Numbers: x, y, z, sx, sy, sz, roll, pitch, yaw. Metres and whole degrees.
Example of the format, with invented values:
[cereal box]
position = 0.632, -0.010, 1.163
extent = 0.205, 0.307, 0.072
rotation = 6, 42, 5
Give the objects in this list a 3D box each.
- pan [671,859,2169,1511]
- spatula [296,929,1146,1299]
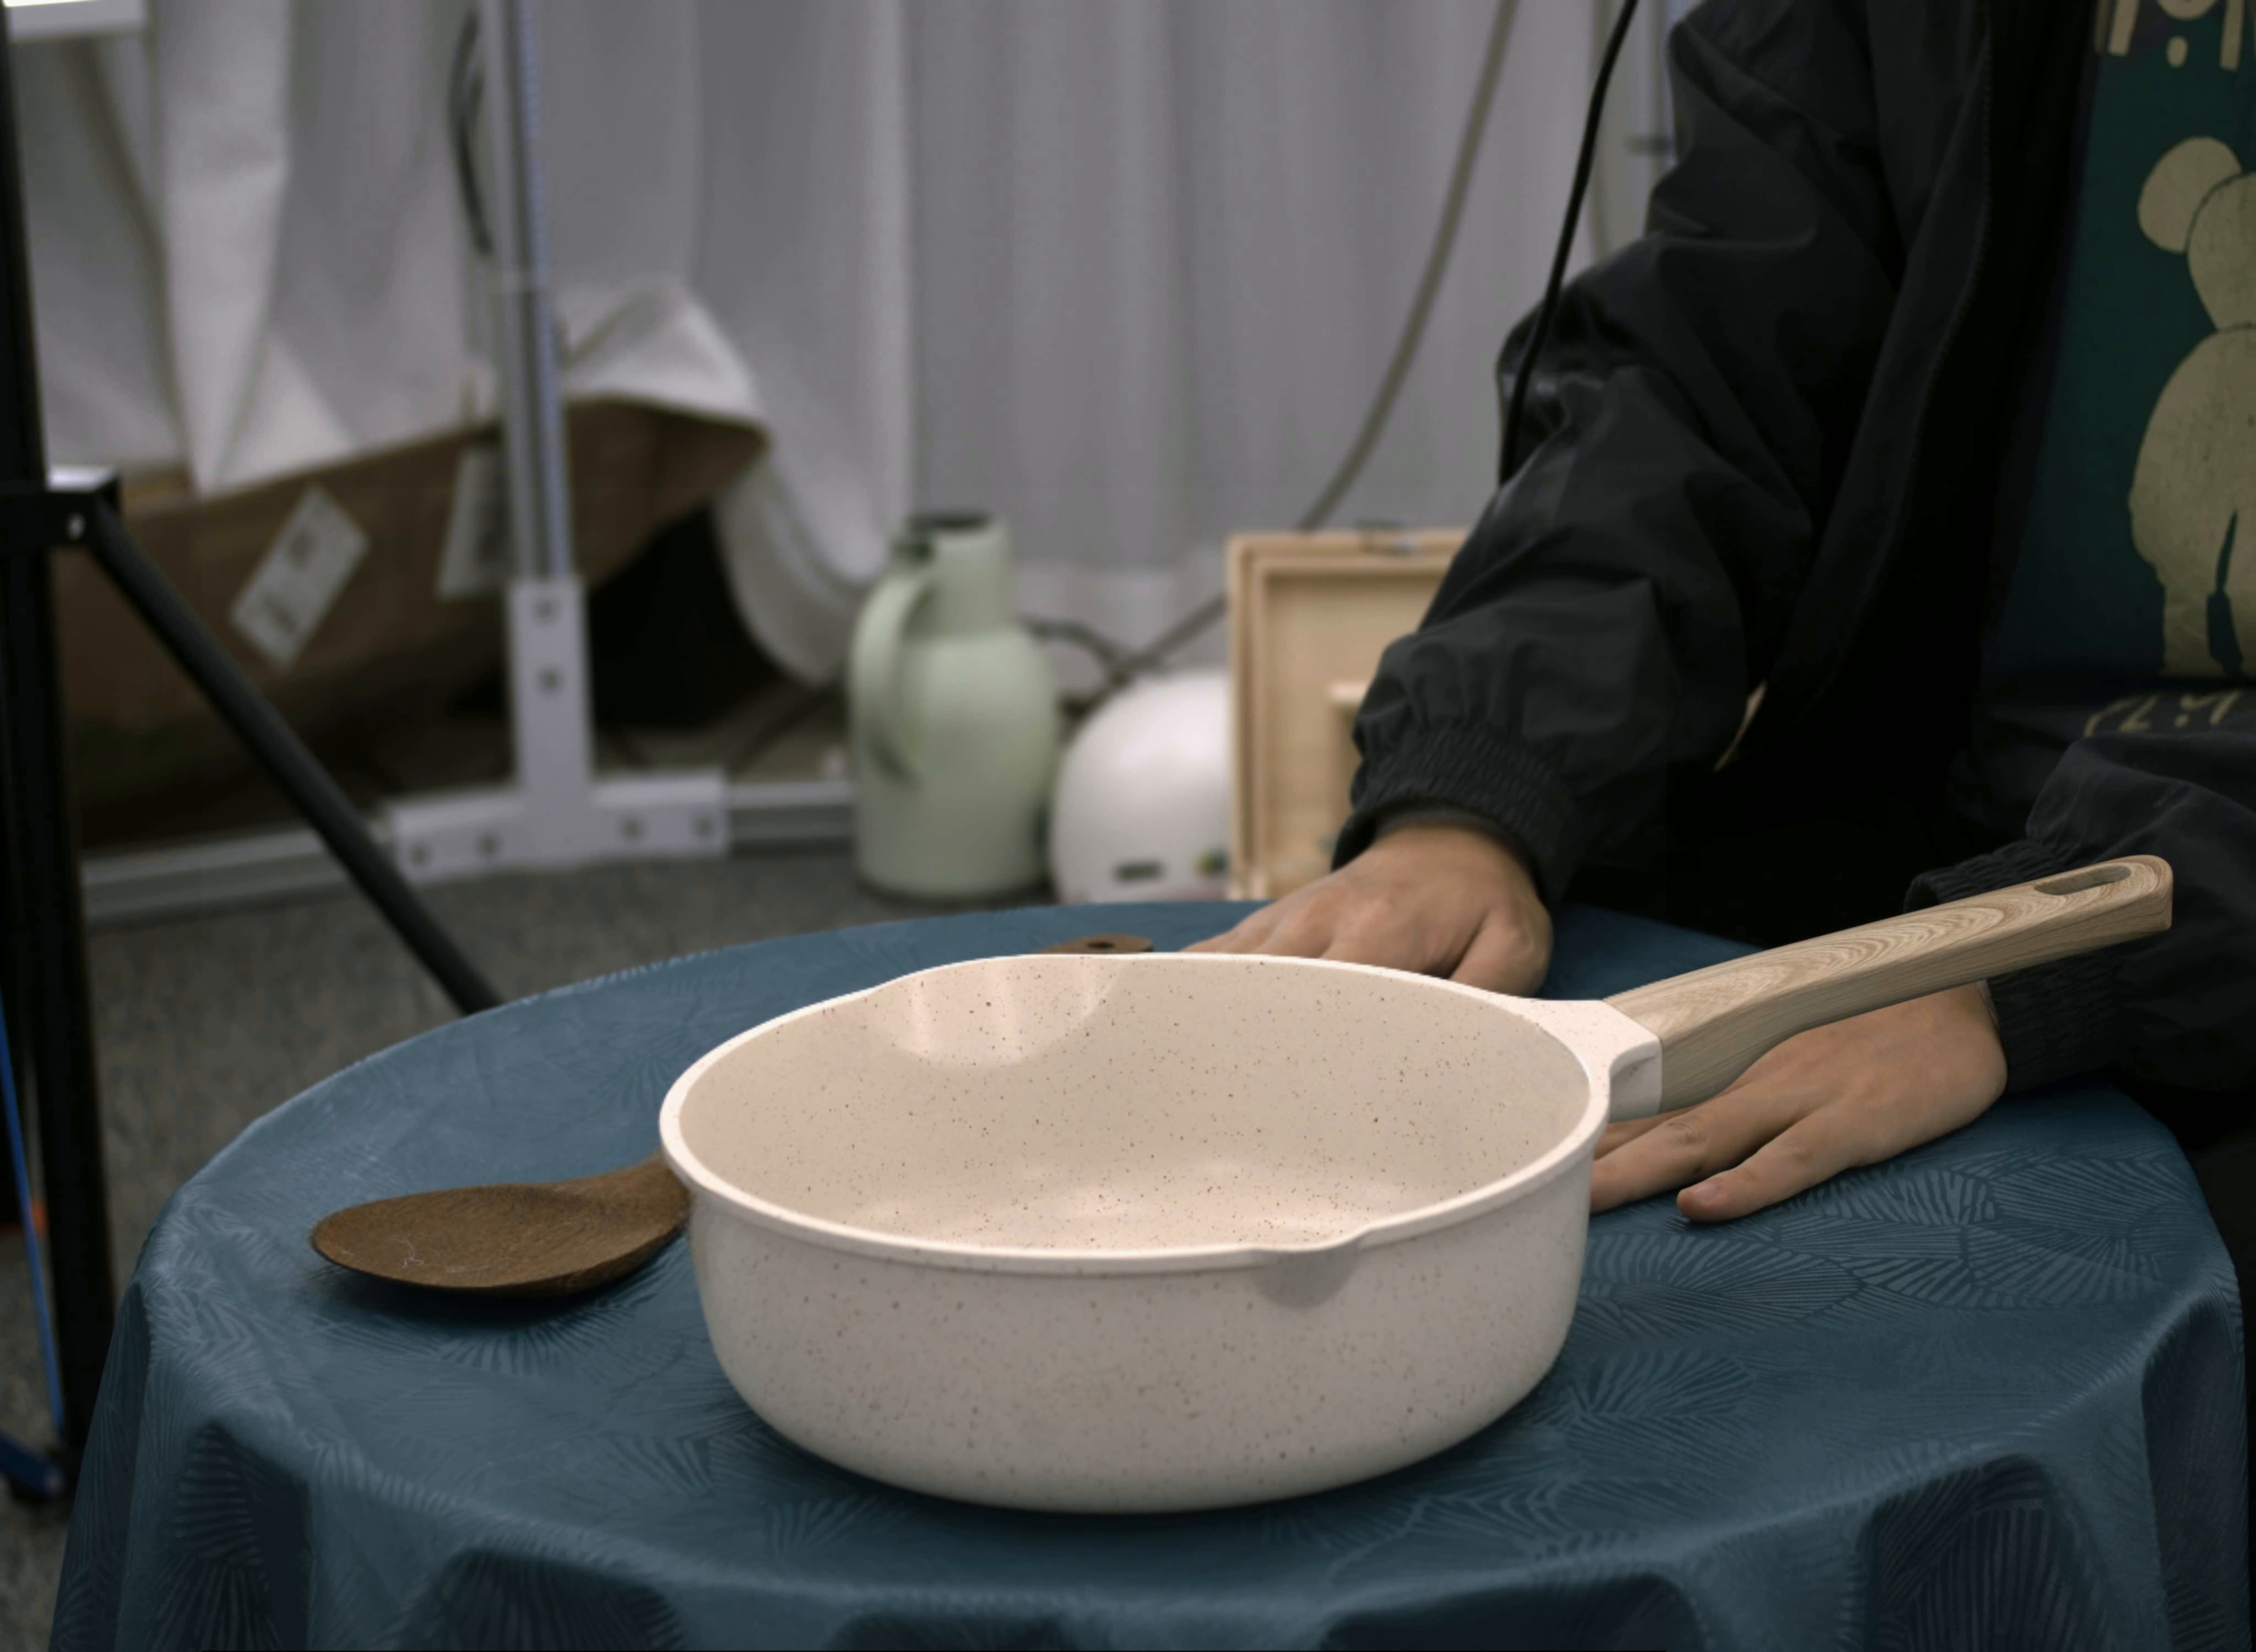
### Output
[pan]
position = 0.092, 0.089, 1.425
extent = 0.427, 0.102, 0.268
rotation = -8, 15, -17
[spatula]
position = -0.103, 0.082, 1.638
extent = 0.098, 0.016, 0.378
rotation = 9, 19, 33
